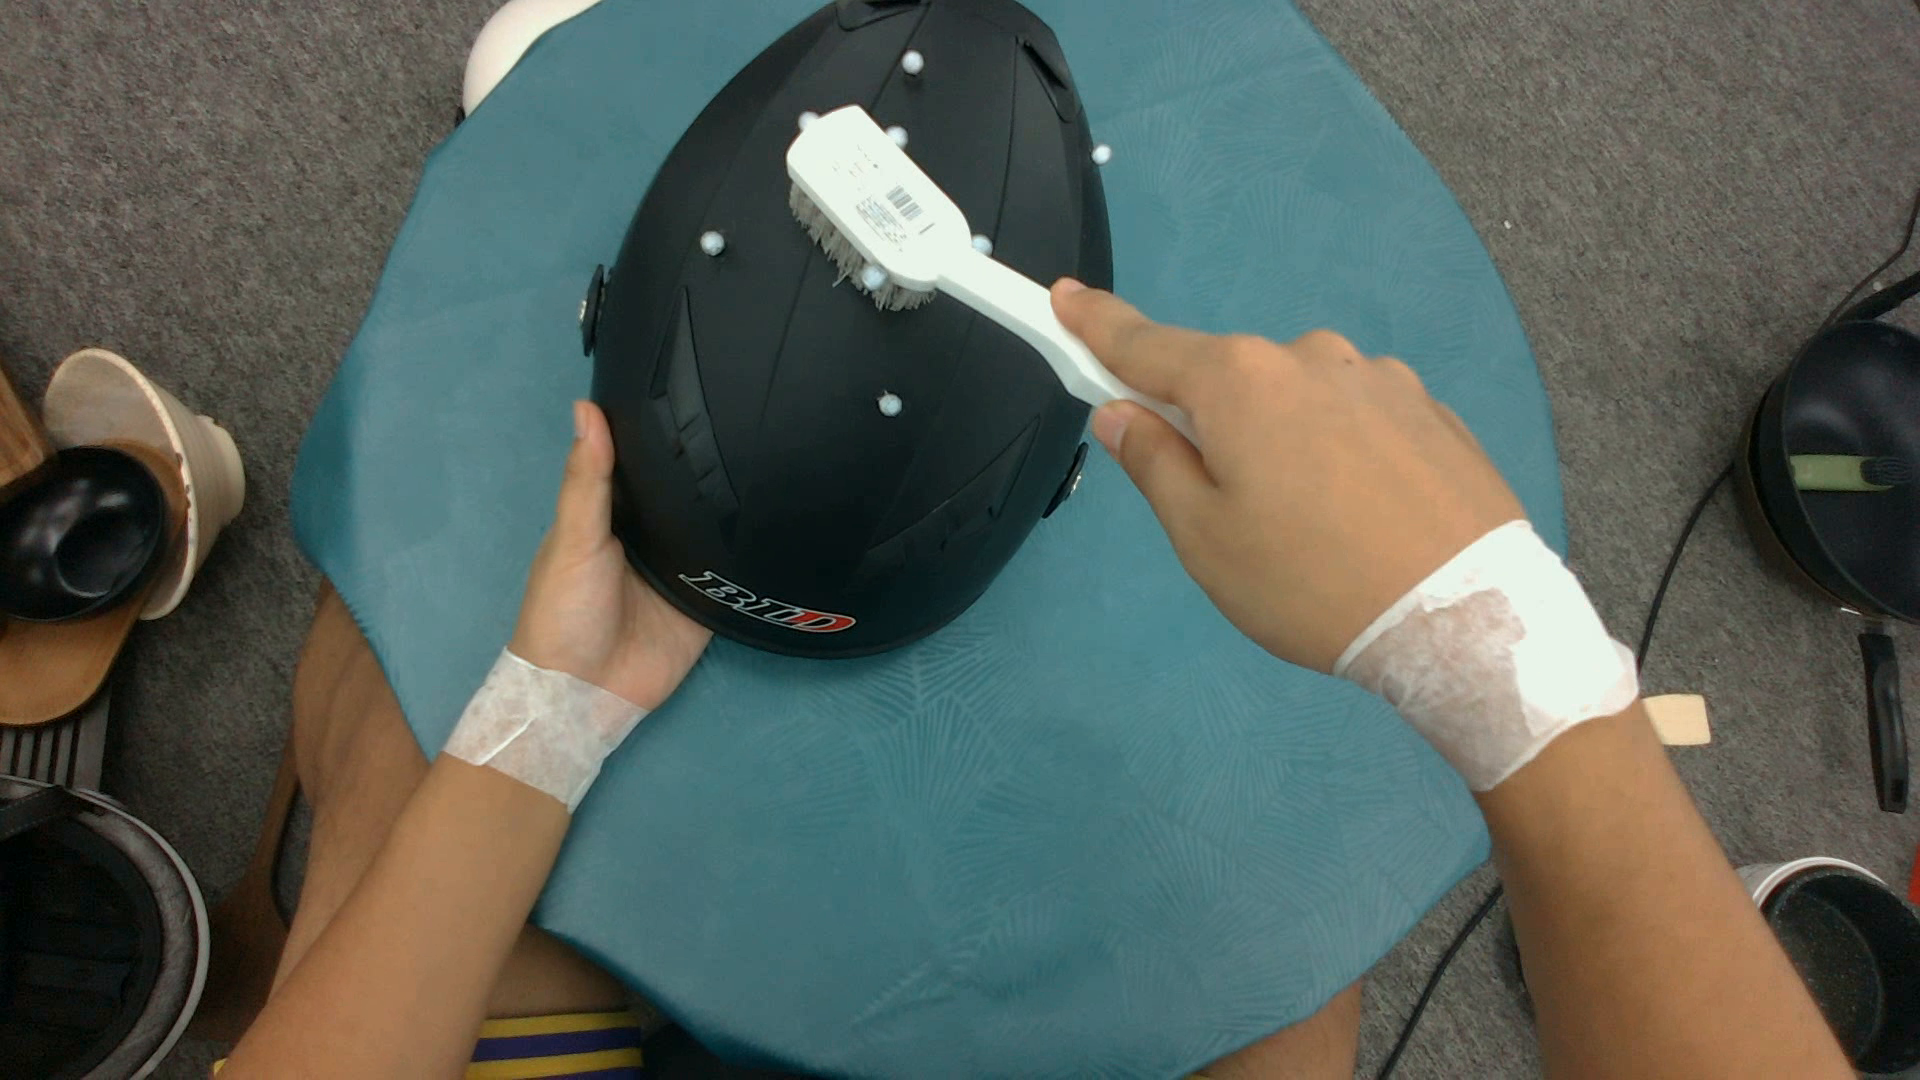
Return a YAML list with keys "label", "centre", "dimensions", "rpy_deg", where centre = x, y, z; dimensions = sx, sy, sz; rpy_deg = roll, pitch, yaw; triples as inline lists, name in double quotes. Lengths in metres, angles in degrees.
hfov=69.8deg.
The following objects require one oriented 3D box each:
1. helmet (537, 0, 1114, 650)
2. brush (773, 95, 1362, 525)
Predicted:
- label: "helmet"
  centre: [-0.046, -0.105, 0.578]
  dimensions: [0.247, 0.172, 0.277]
  rpy_deg: [20, 68, -10]
- label: "brush"
  centre: [0.023, -0.069, 0.437]
  dimensions: [0.034, 0.050, 0.244]
  rpy_deg: [-41, 62, -17]
